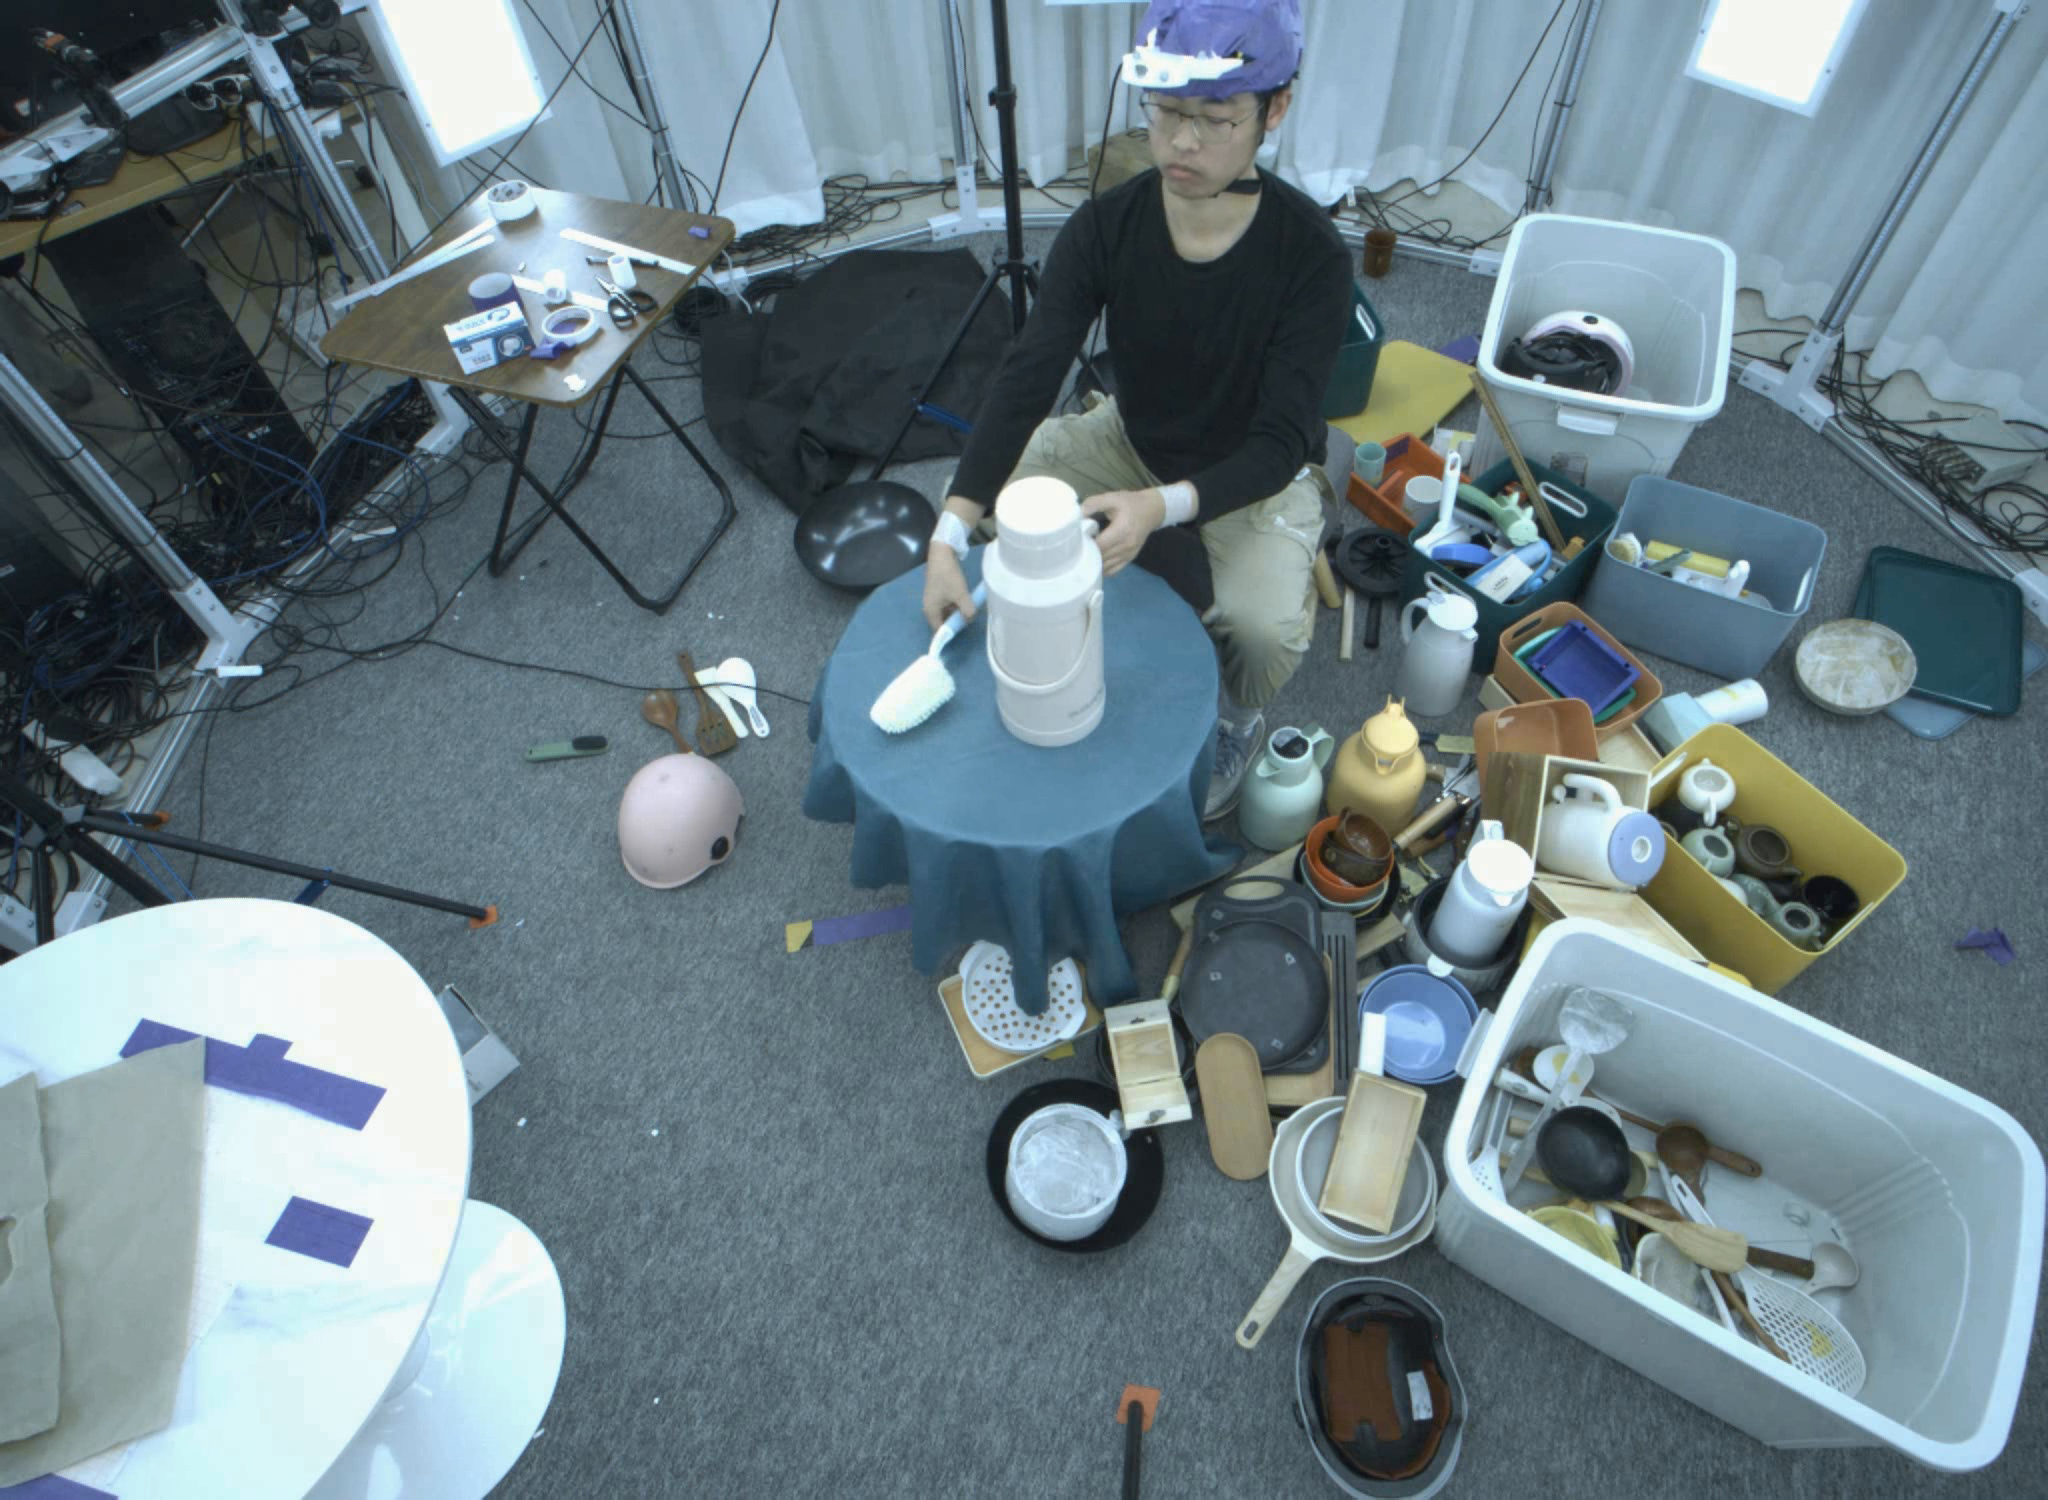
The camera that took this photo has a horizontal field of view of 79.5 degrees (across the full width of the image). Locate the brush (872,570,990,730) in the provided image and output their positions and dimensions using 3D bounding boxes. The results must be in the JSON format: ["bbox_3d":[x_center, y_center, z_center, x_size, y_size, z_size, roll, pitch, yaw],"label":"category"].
[{"bbox_3d":[-0.104,-0.157,1.830,0.084,0.083,0.326,38,73,6],"label":"brush"}]

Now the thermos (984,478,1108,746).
[{"bbox_3d":[0.041,-0.193,1.678,0.172,0.411,0.208,26,61,23],"label":"thermos"}]
